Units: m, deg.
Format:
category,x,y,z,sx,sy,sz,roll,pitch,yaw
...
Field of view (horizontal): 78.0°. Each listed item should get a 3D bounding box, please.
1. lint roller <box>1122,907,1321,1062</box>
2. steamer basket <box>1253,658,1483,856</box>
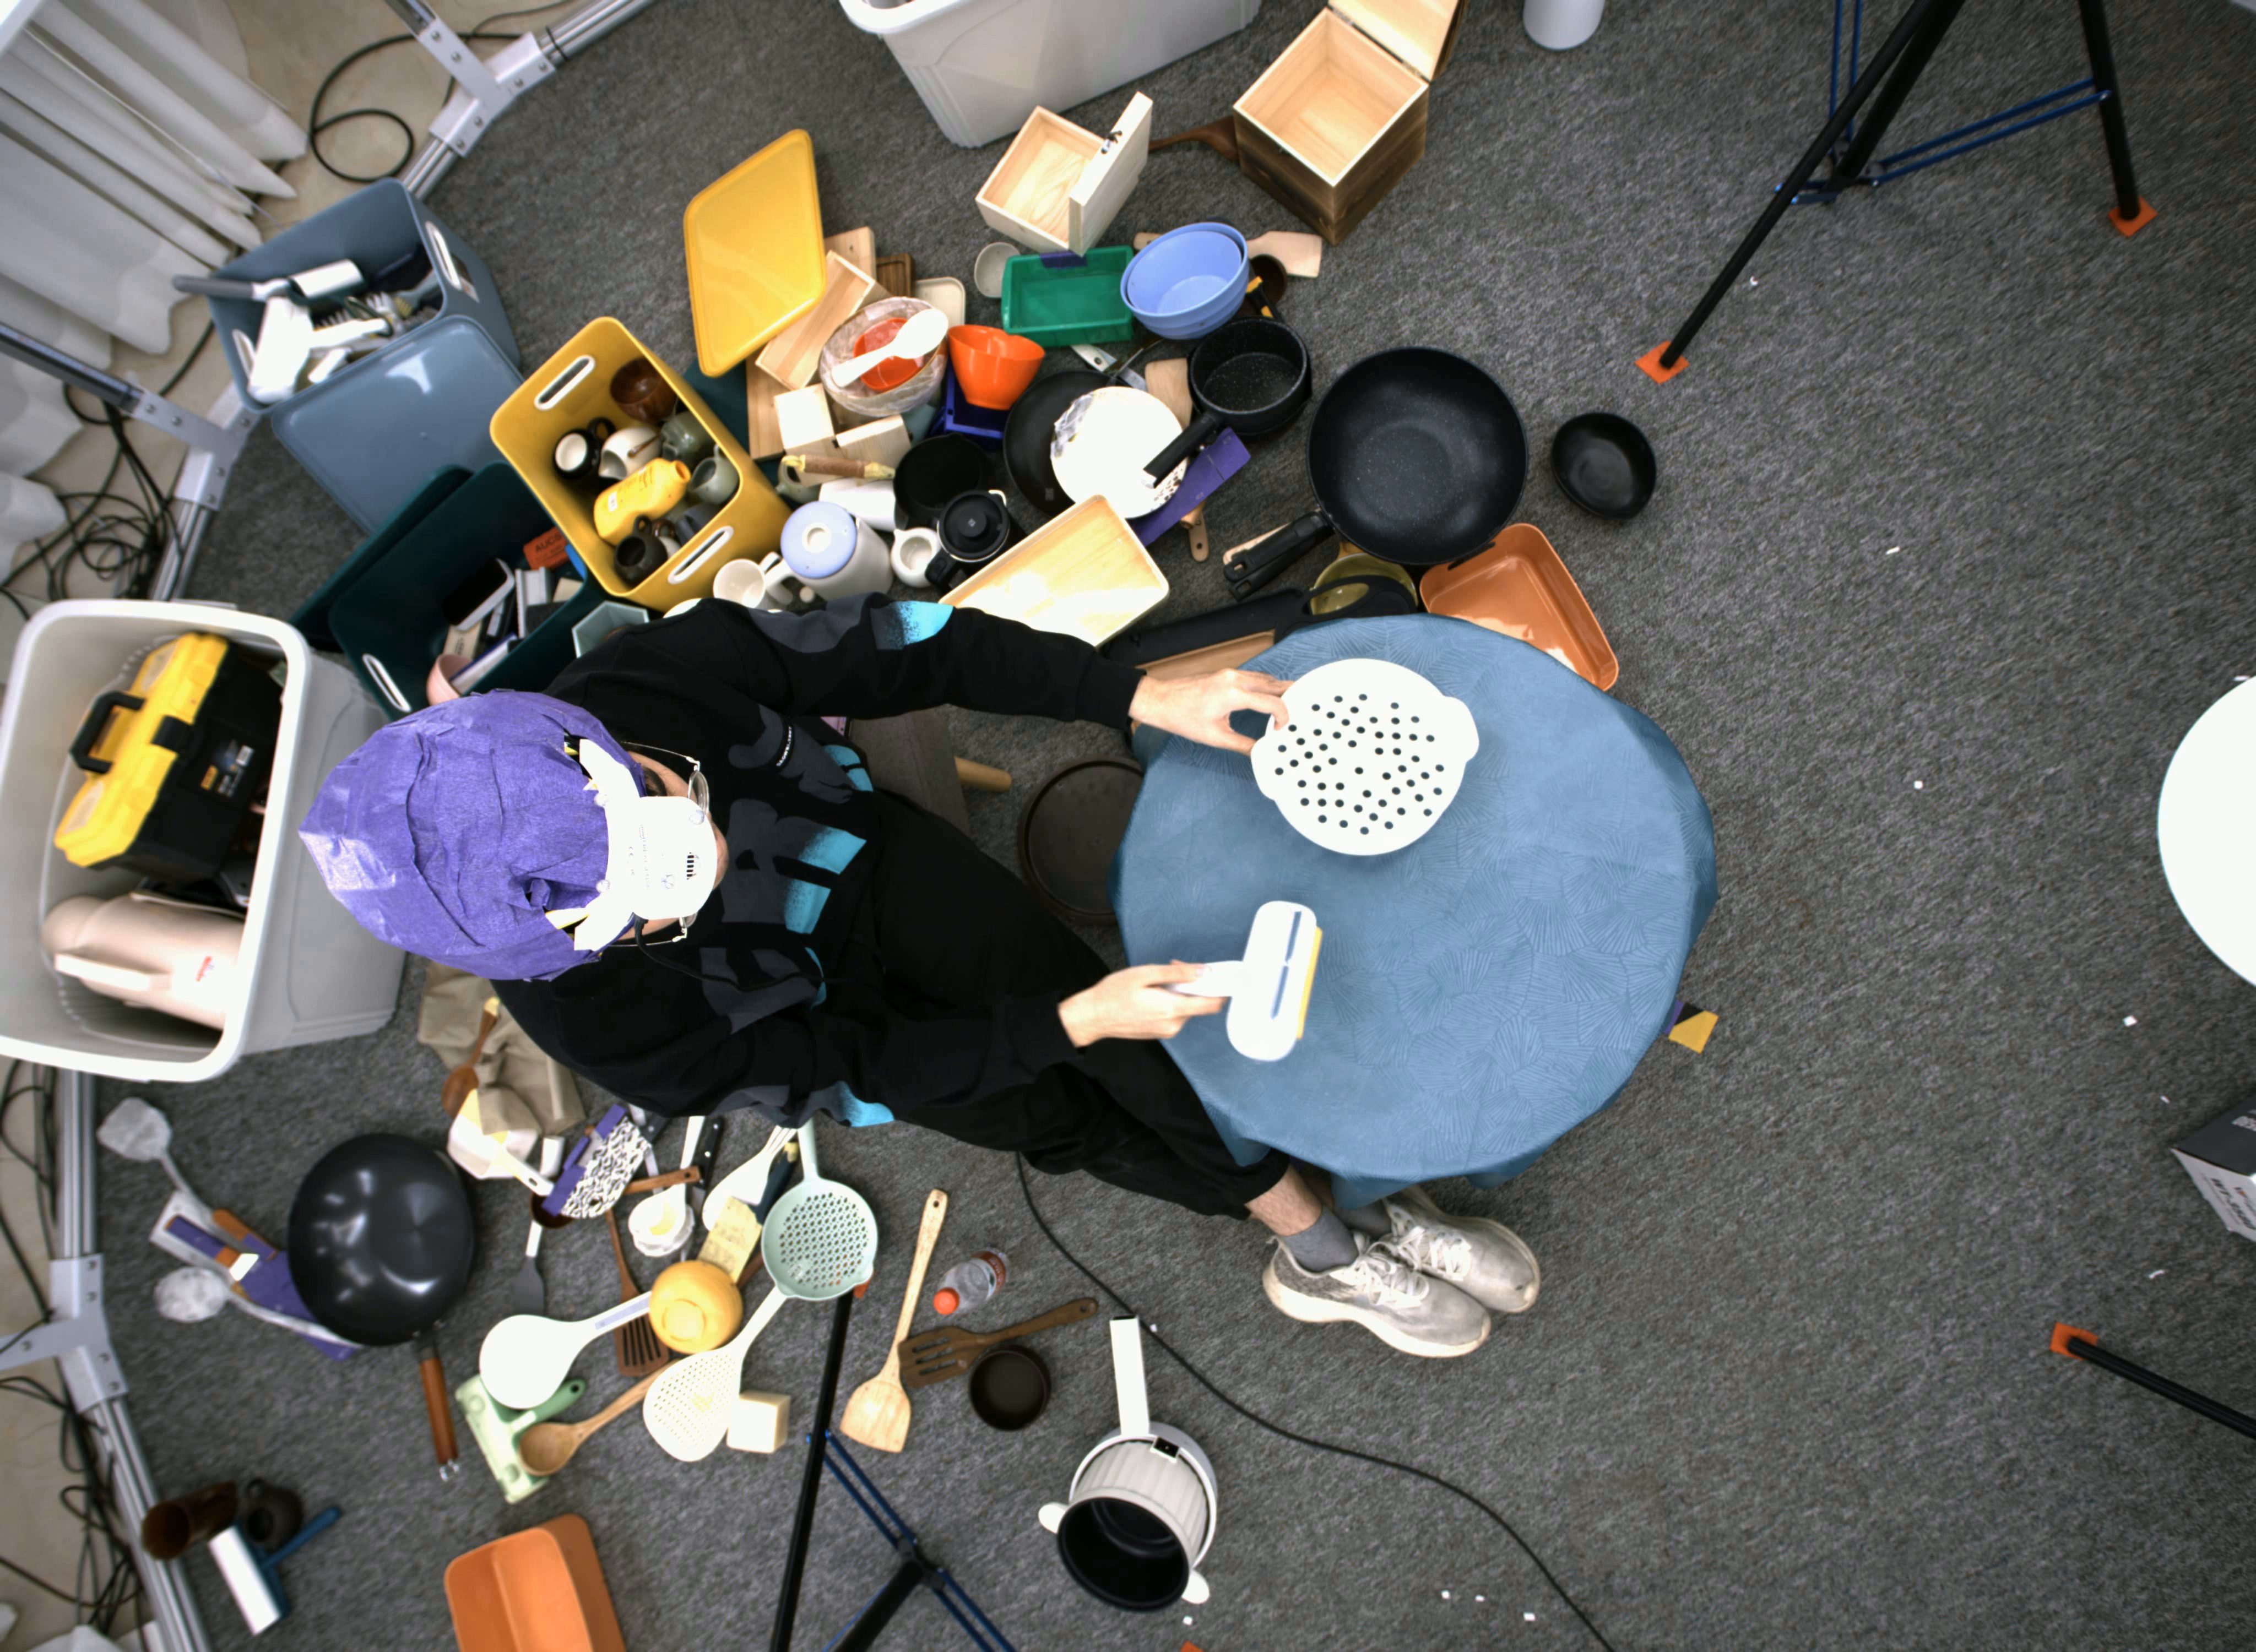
category,x,y,z,sx,sy,sz,roll,pitch,yaw
lint roller,0.083,0.152,1.375,0.193,0.187,0.076,5,131,19
steamer basket,0.244,-0.071,1.406,0.231,0.070,0.198,-13,71,2
